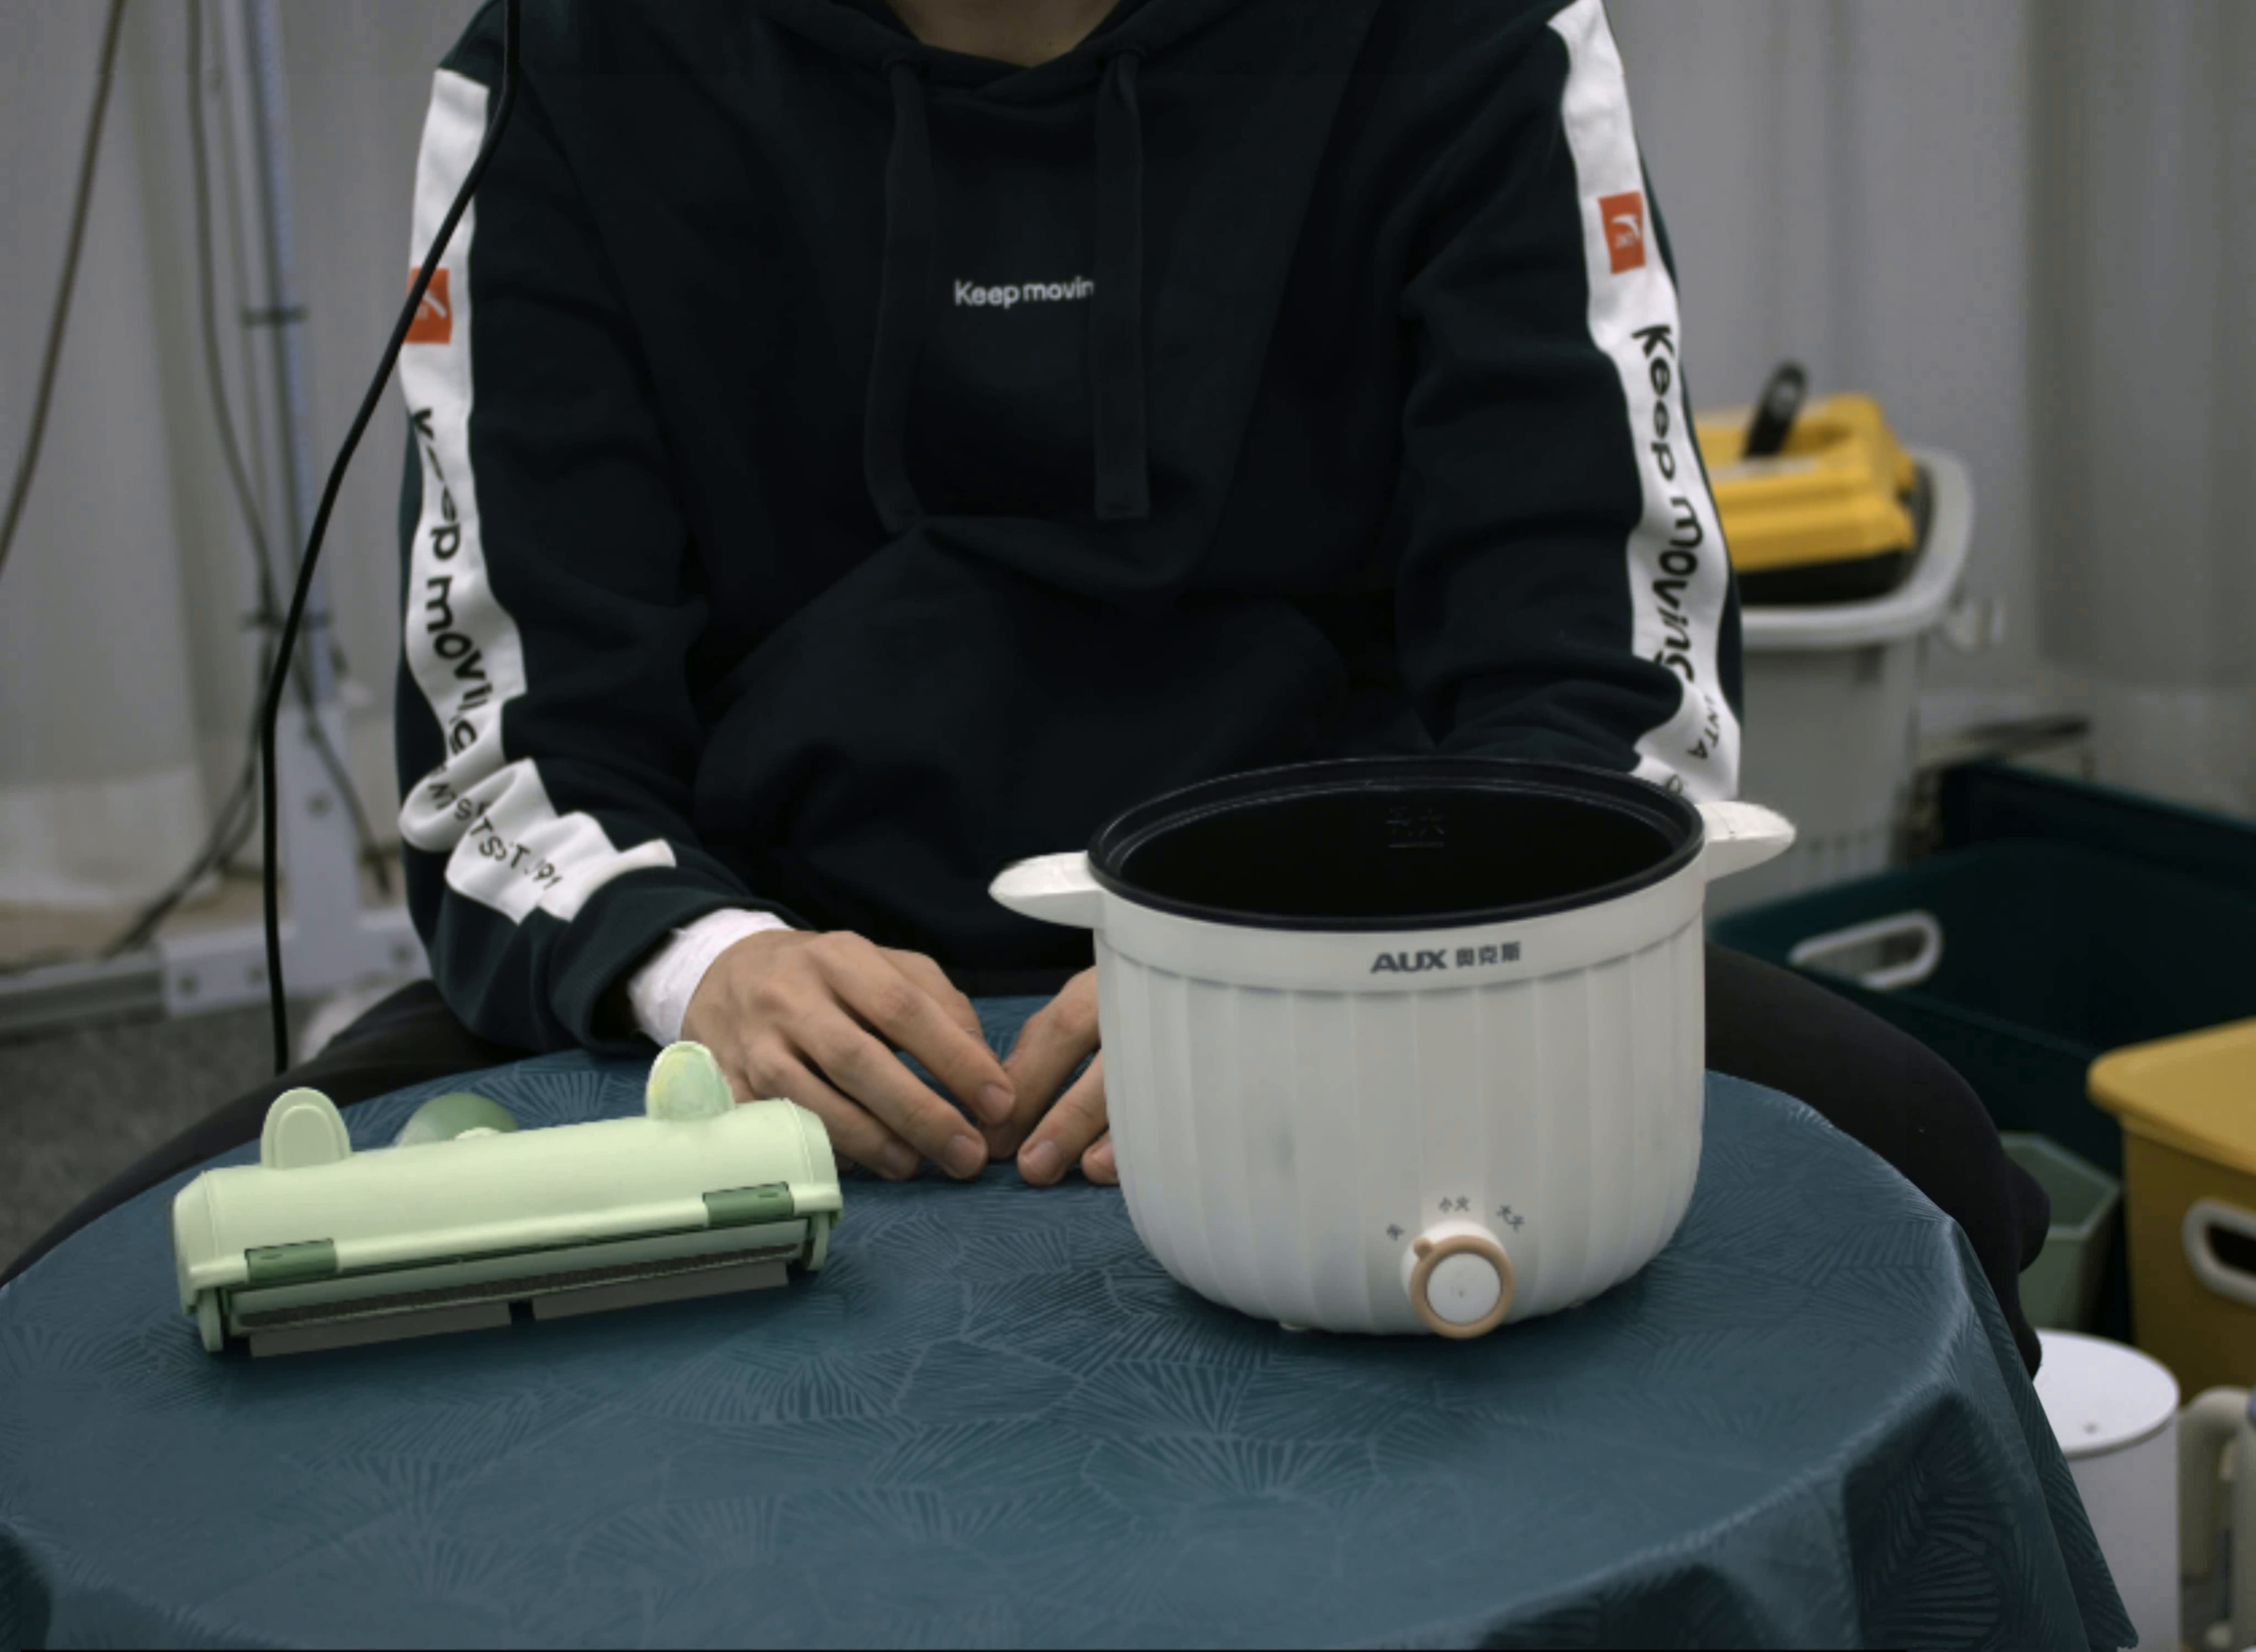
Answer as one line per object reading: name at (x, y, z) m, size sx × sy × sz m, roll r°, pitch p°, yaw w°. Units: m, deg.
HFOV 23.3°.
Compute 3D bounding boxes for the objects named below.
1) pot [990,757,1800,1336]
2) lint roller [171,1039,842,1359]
pot at (0.084, 0.068, 1.609) m, size 0.239 × 0.142 × 0.191 m, roll -6°, pitch 11°, yaw -5°
lint roller at (-0.199, 0.095, 1.683) m, size 0.198 × 0.081 × 0.185 m, roll -7°, pitch 20°, yaw -13°
